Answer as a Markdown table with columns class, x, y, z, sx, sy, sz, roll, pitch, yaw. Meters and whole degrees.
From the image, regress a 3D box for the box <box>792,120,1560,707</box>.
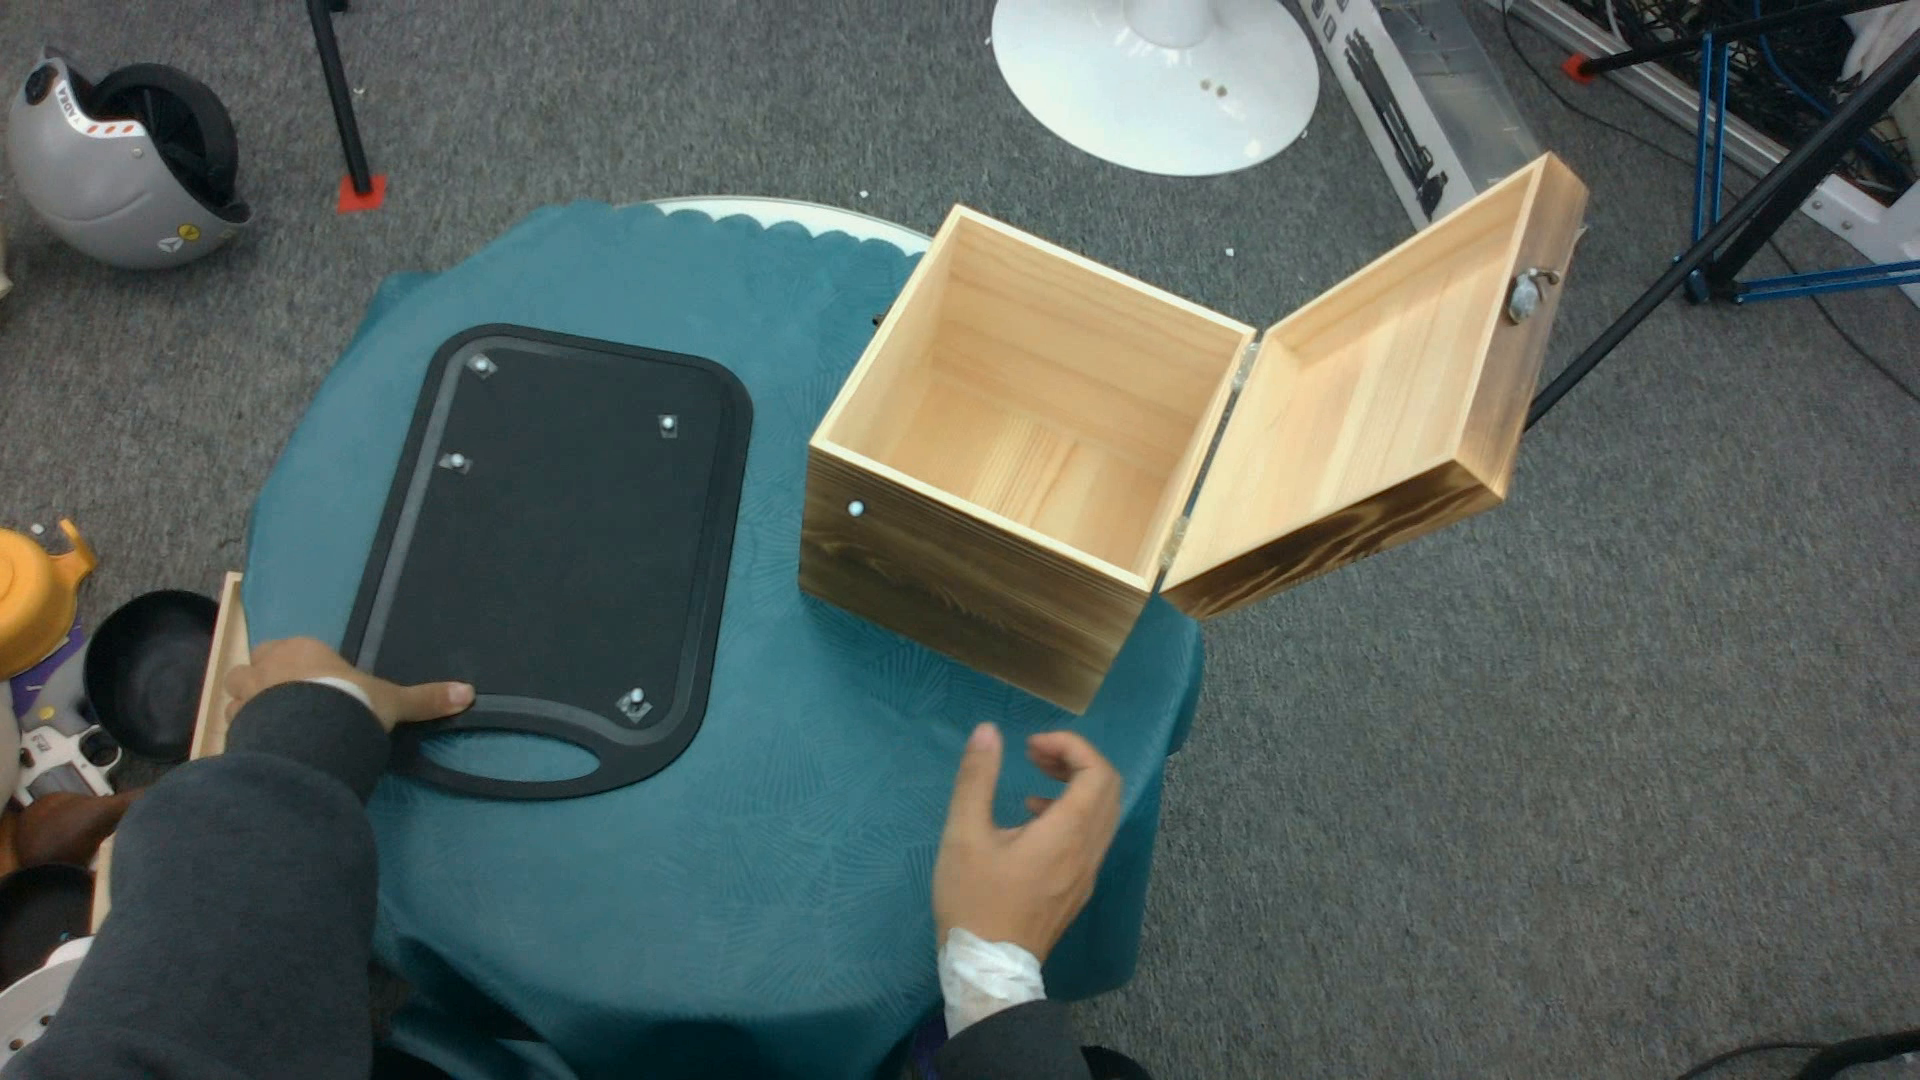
| class | x | y | z | sx | sy | sz | roll | pitch | yaw |
| --- | --- | --- | --- | --- | --- | --- | --- | --- | --- |
| box | 0.094 | -0.083 | 0.769 | 0.322 | 0.373 | 0.210 | 23 | 58 | 4 |

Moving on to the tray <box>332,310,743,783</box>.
| class | x | y | z | sx | sy | sz | roll | pitch | yaw |
| --- | --- | --- | --- | --- | --- | --- | --- | --- | --- |
| tray | -0.253 | -0.005 | 0.858 | 0.211 | 0.010 | 0.327 | 9 | 59 | -11 |
